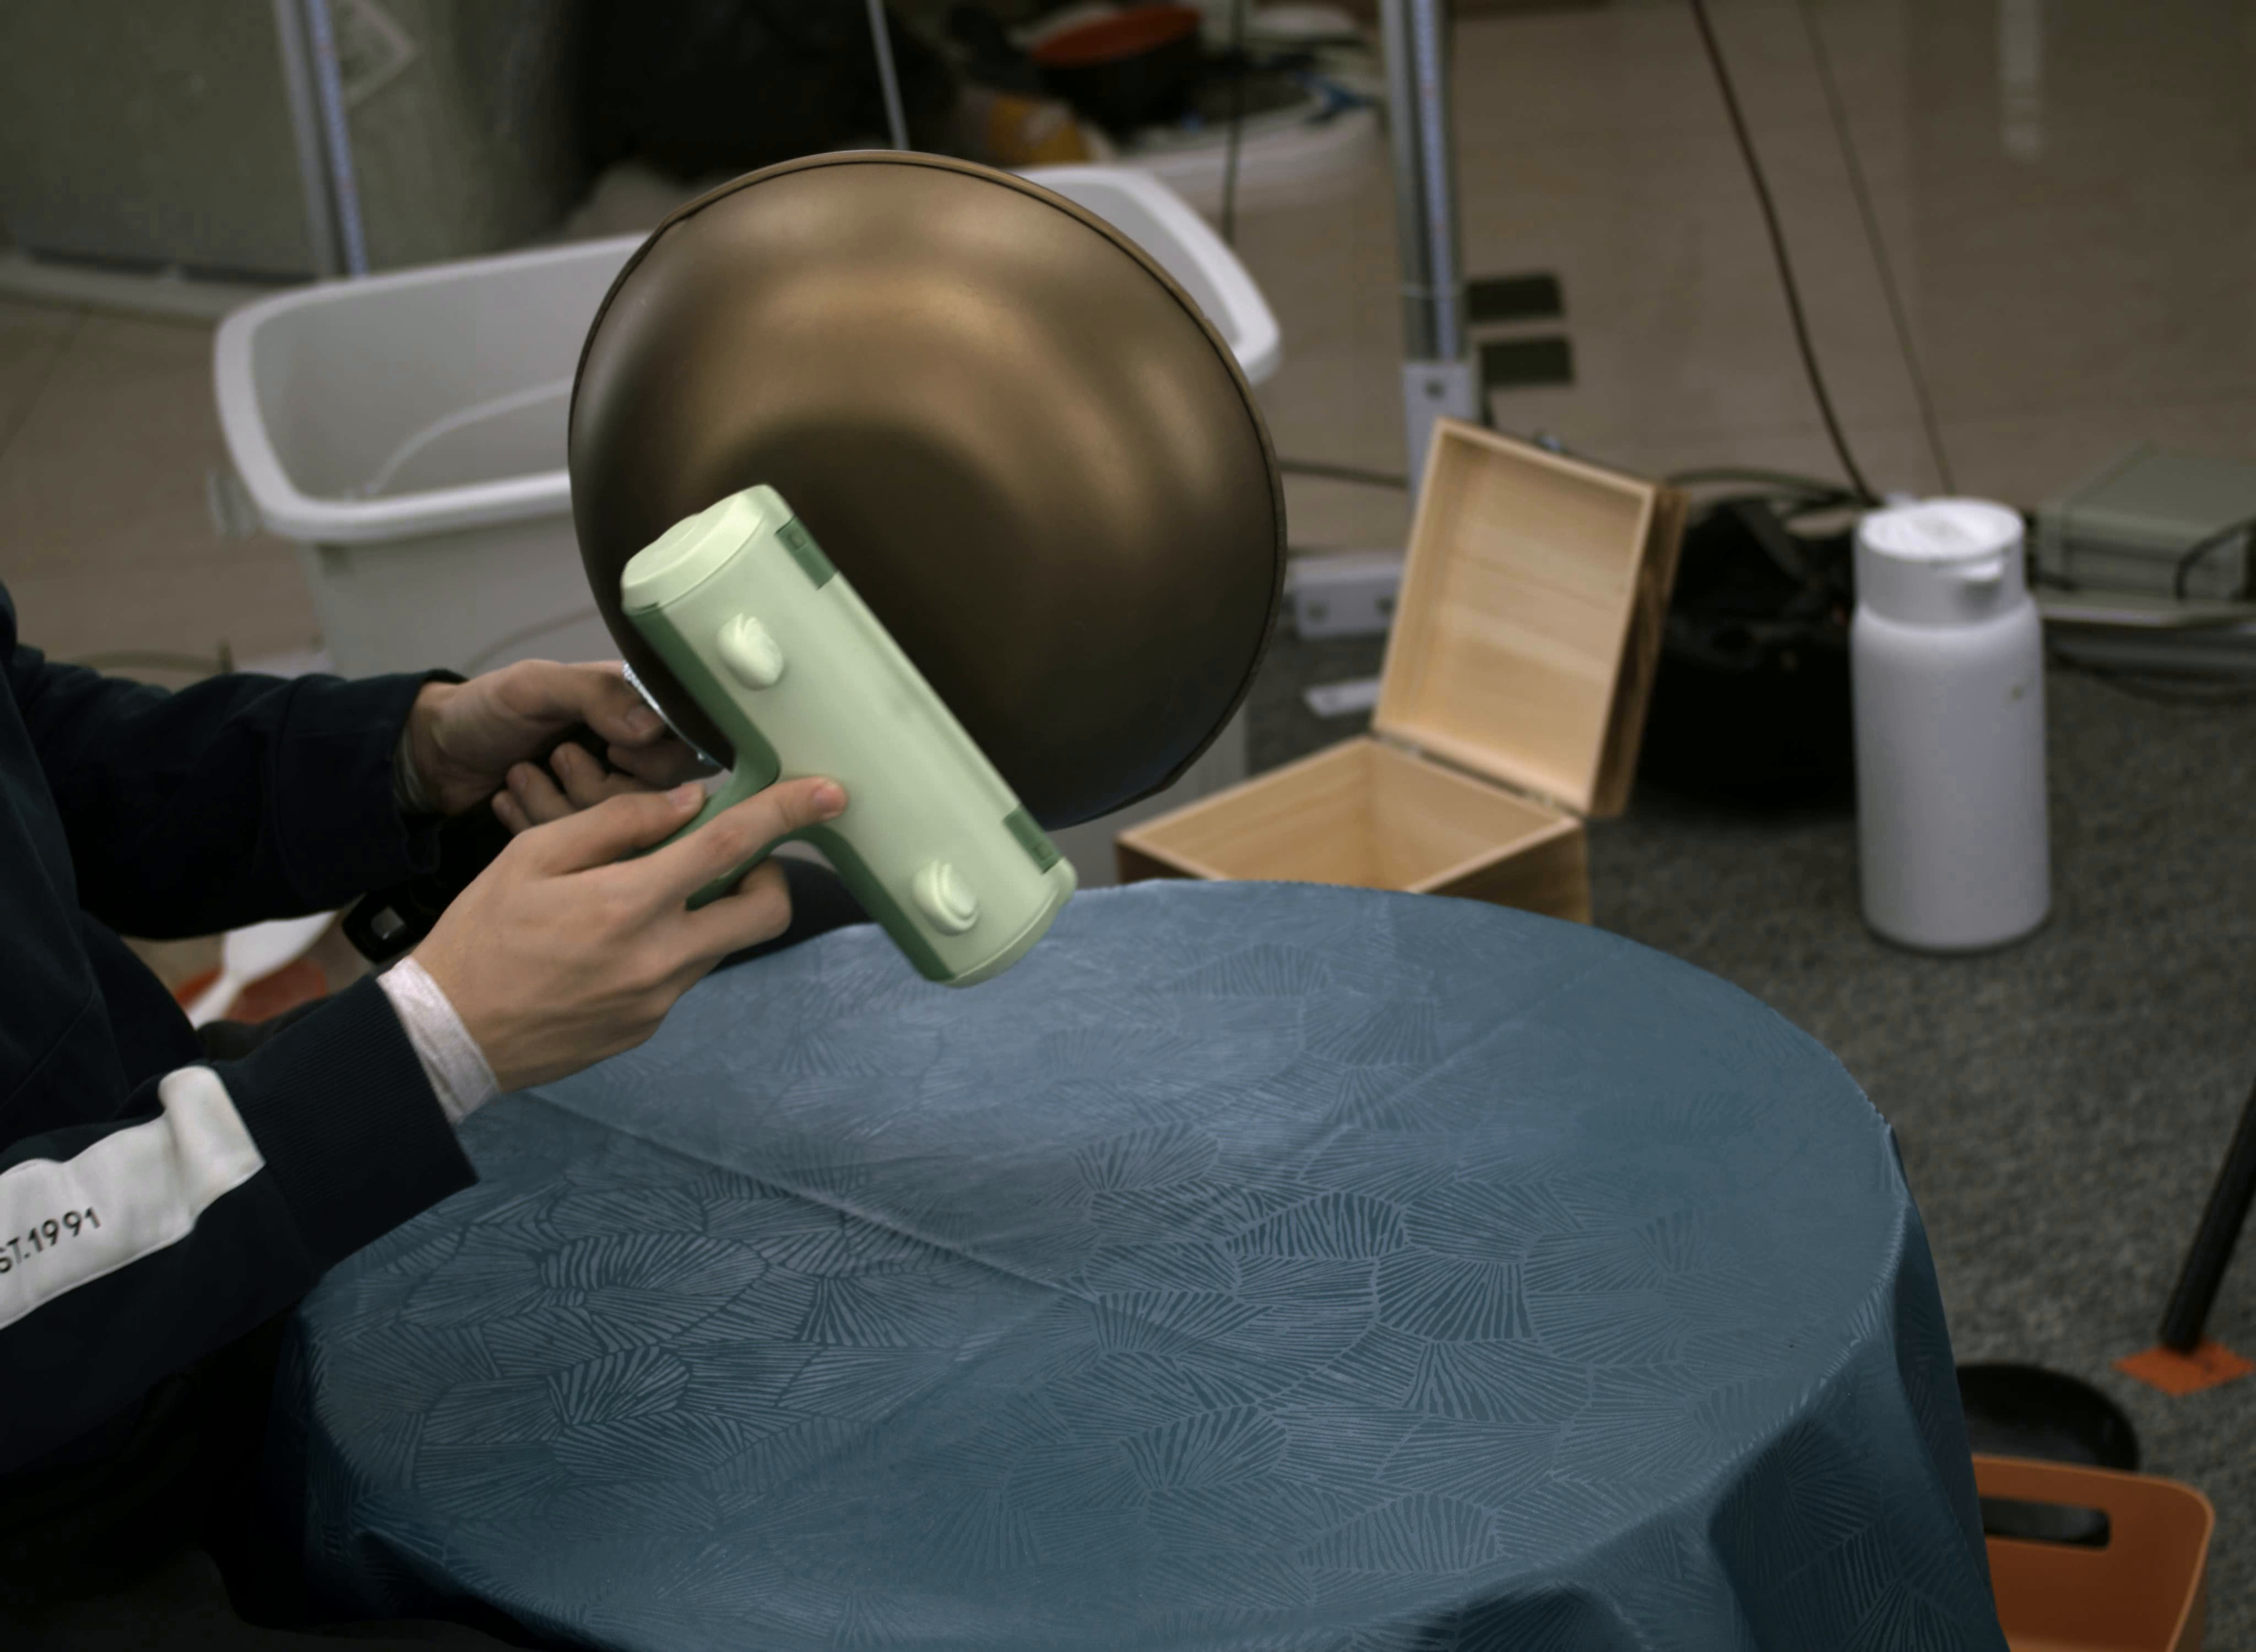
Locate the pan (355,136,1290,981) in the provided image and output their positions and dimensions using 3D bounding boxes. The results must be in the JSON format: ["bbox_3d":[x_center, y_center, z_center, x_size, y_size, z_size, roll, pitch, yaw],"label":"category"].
[{"bbox_3d":[-0.151,-0.059,2.121,0.467,0.290,0.085,-36,14,29],"label":"pan"}]

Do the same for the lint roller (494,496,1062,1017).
[{"bbox_3d":[-0.144,0.011,1.995,0.183,0.201,0.081,-40,23,-7],"label":"lint roller"}]
